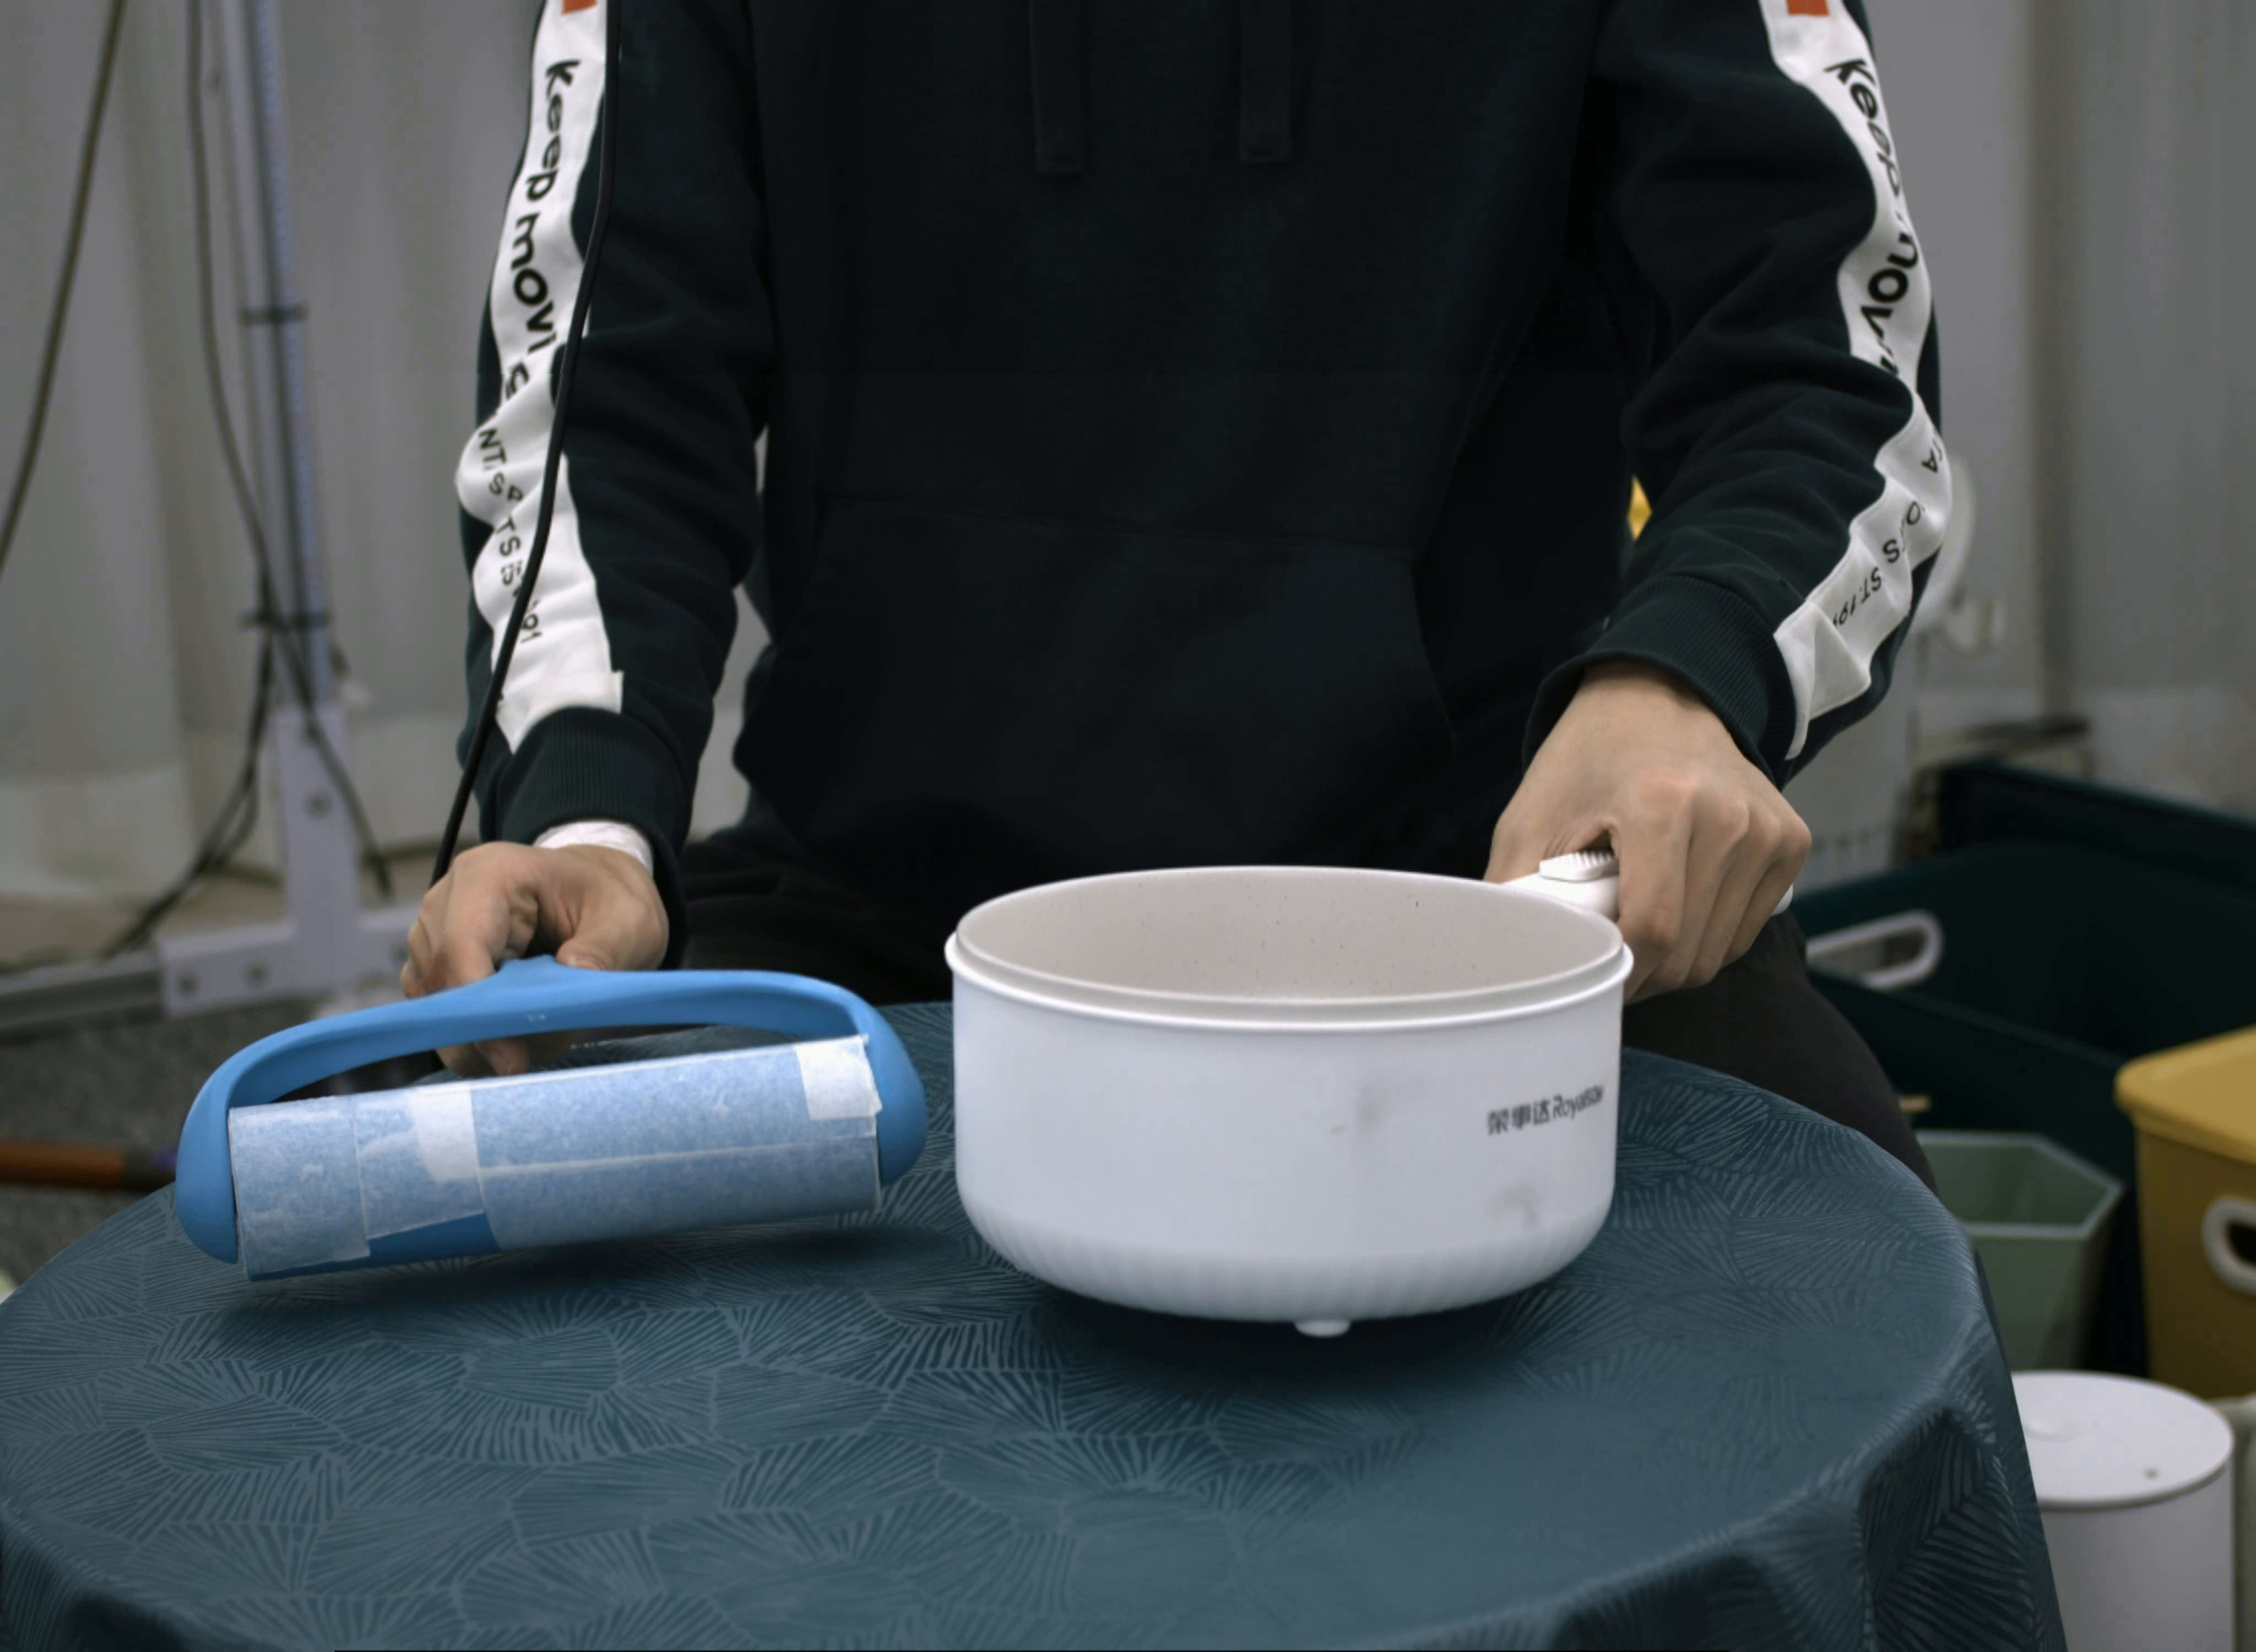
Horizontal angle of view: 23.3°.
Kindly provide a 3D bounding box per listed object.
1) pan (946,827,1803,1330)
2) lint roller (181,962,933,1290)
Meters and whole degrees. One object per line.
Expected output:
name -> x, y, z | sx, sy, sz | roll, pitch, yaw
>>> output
pan -> 0.093, 0.069, 1.660 | 0.202, 0.102, 0.353 | 8, 12, 38
lint roller -> -0.186, 0.076, 1.713 | 0.228, 0.067, 0.182 | -9, 26, -10
